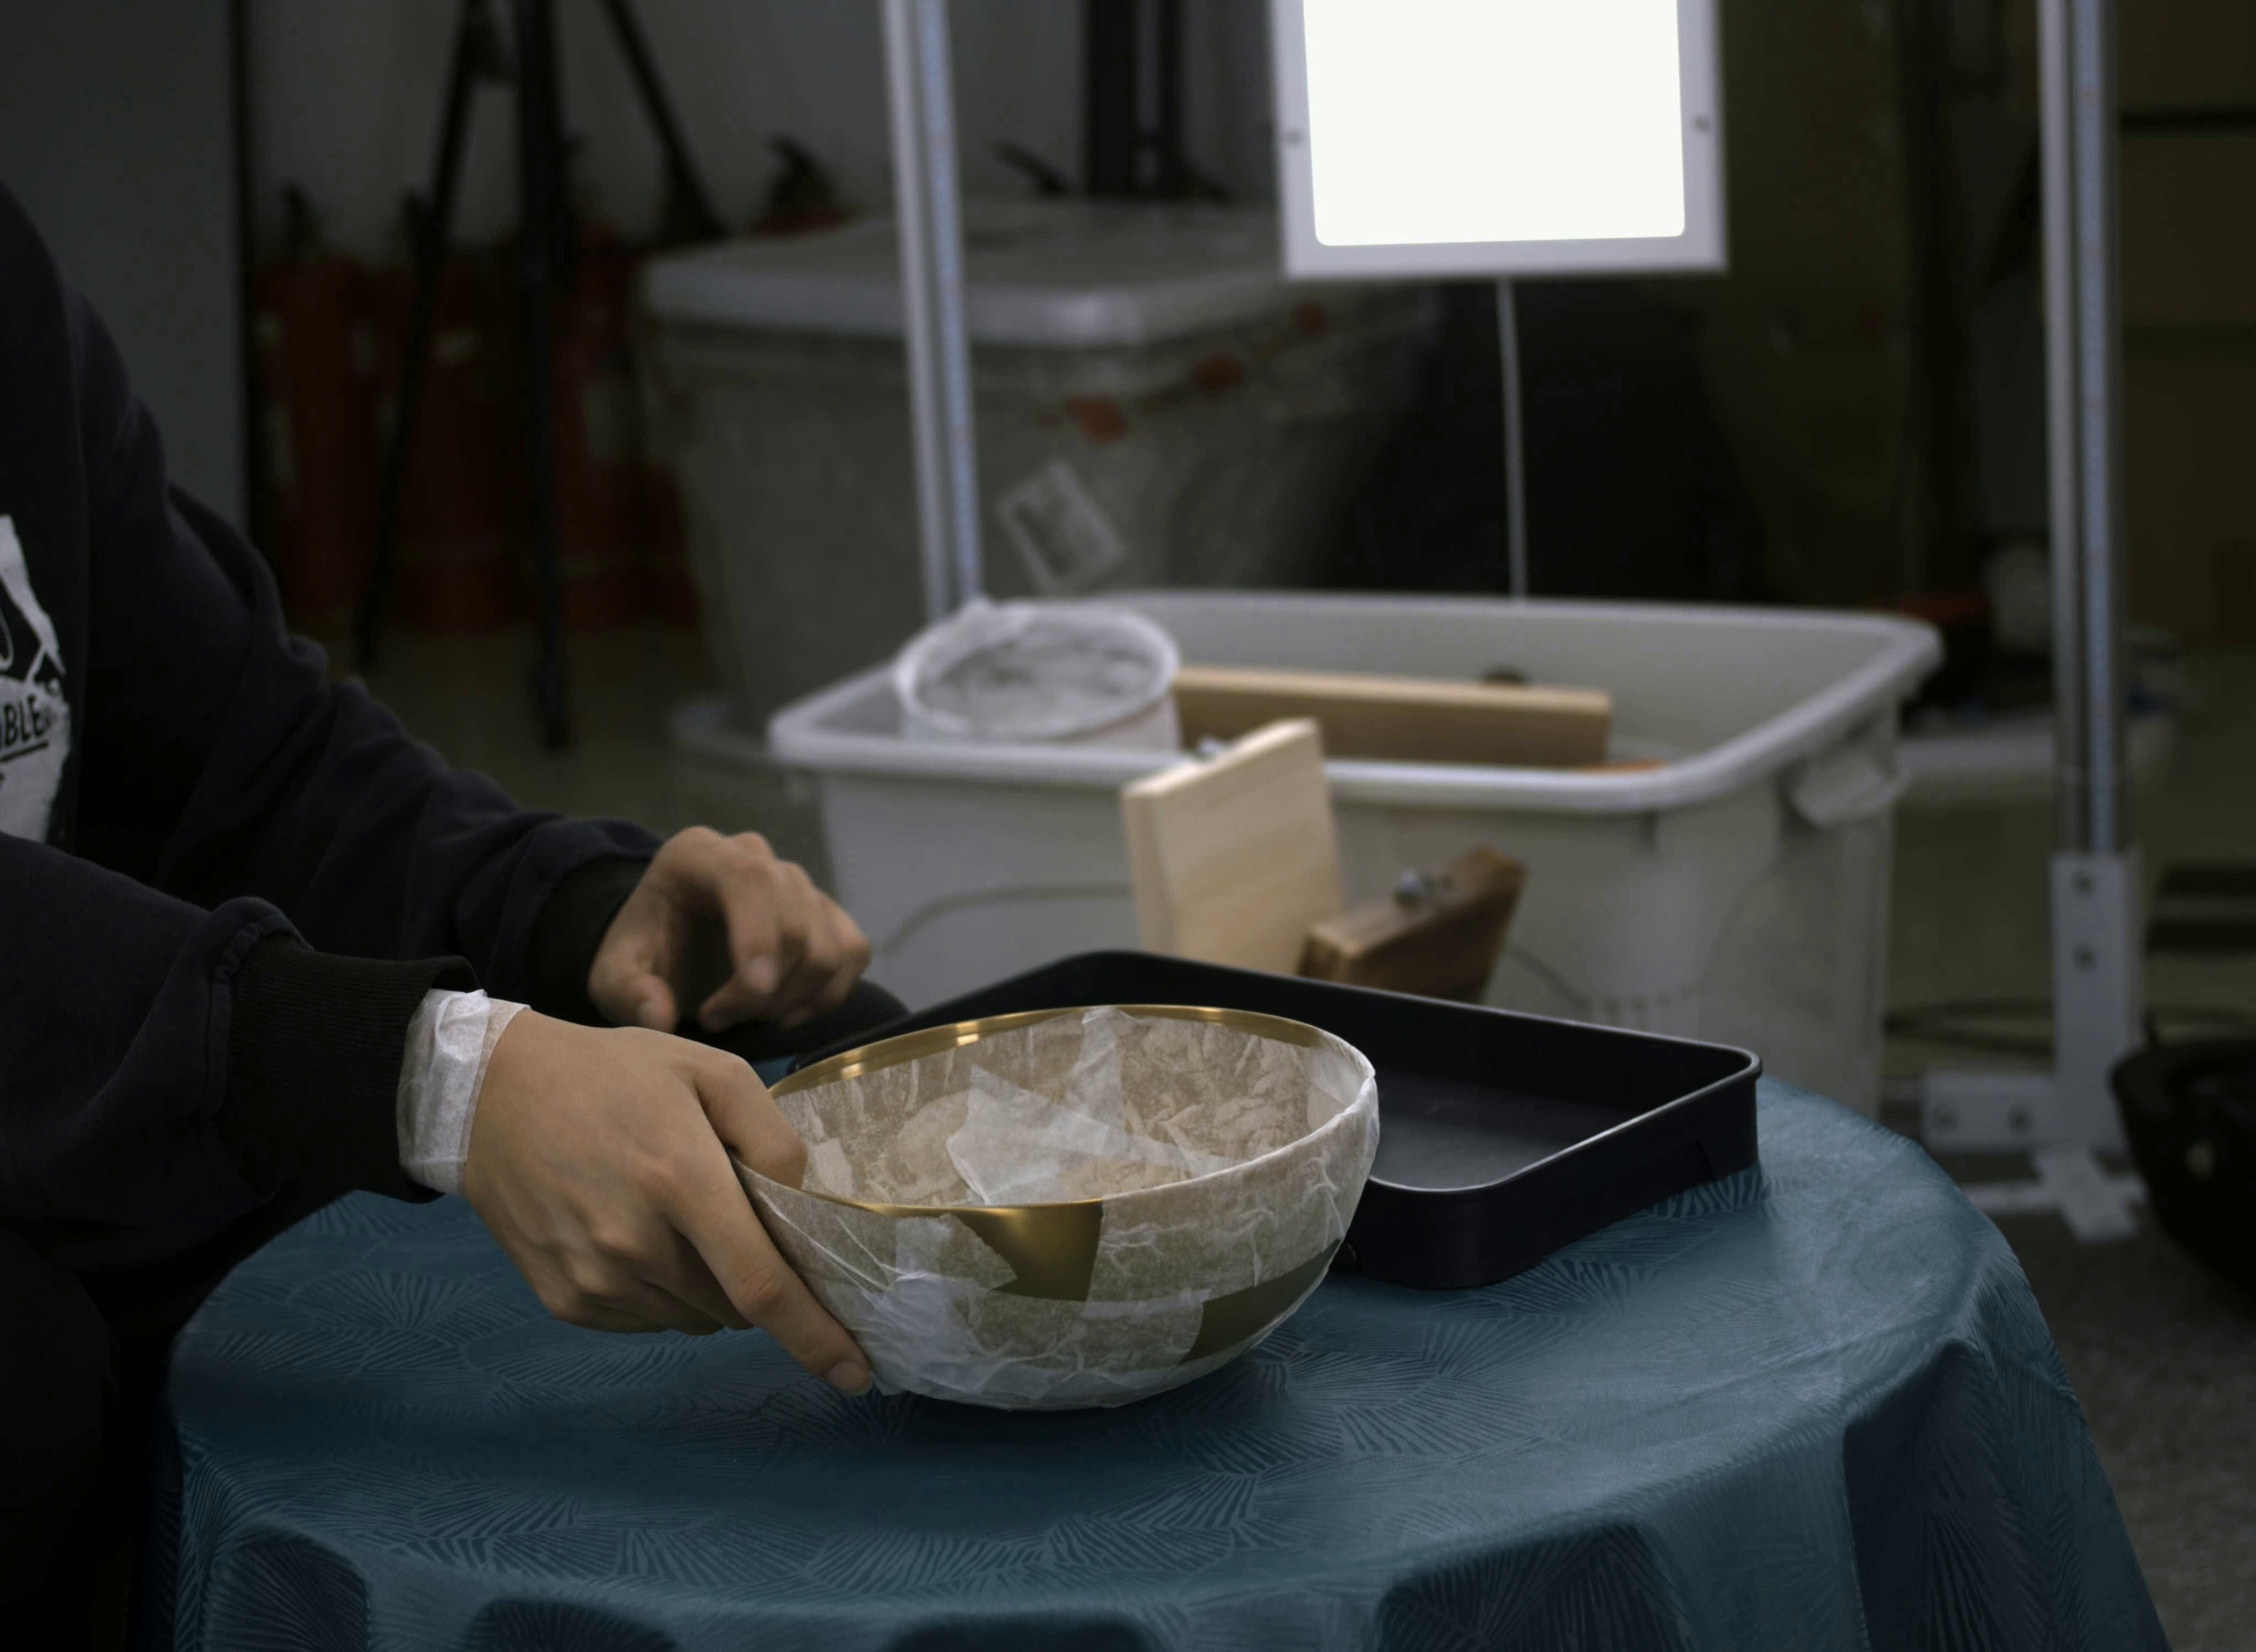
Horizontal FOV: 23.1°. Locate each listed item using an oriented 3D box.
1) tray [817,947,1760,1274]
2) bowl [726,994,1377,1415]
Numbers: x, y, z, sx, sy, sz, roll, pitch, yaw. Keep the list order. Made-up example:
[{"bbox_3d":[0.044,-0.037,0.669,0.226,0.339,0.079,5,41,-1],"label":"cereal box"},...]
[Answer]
[{"bbox_3d":[0.050,0.095,1.919,0.325,0.037,0.179,6,19,44],"label":"tray"},{"bbox_3d":[-0.022,0.126,1.712,0.214,0.095,0.214,-7,16,1],"label":"bowl"}]
